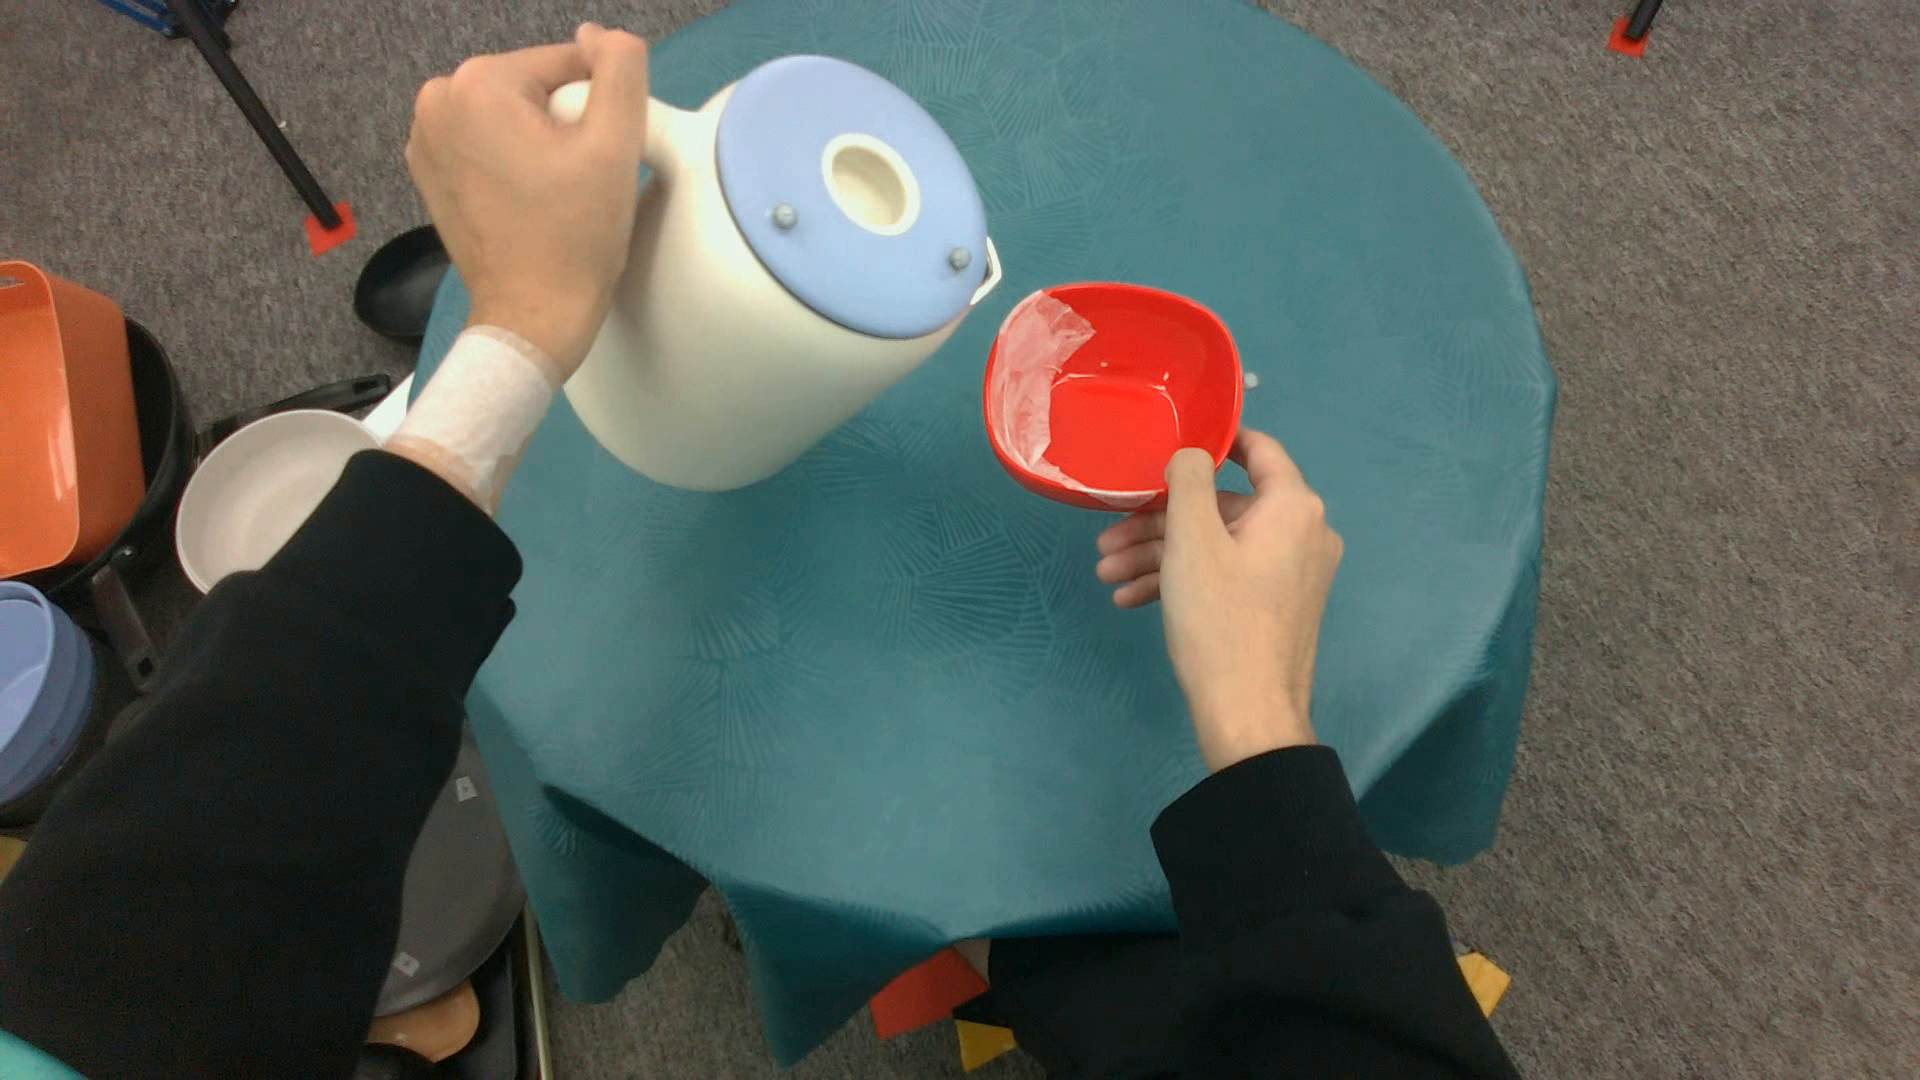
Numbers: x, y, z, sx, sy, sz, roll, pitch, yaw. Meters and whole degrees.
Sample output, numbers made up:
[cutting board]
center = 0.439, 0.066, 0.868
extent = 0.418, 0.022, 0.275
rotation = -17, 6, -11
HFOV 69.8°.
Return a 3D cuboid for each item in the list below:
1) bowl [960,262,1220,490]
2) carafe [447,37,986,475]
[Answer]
[bowl]
center = 0.055, -0.064, 0.606
extent = 0.119, 0.051, 0.119
rotation = 1, 59, -2
[carafe]
center = -0.112, -0.123, 0.576
extent = 0.191, 0.181, 0.133
rotation = 21, 59, -29
